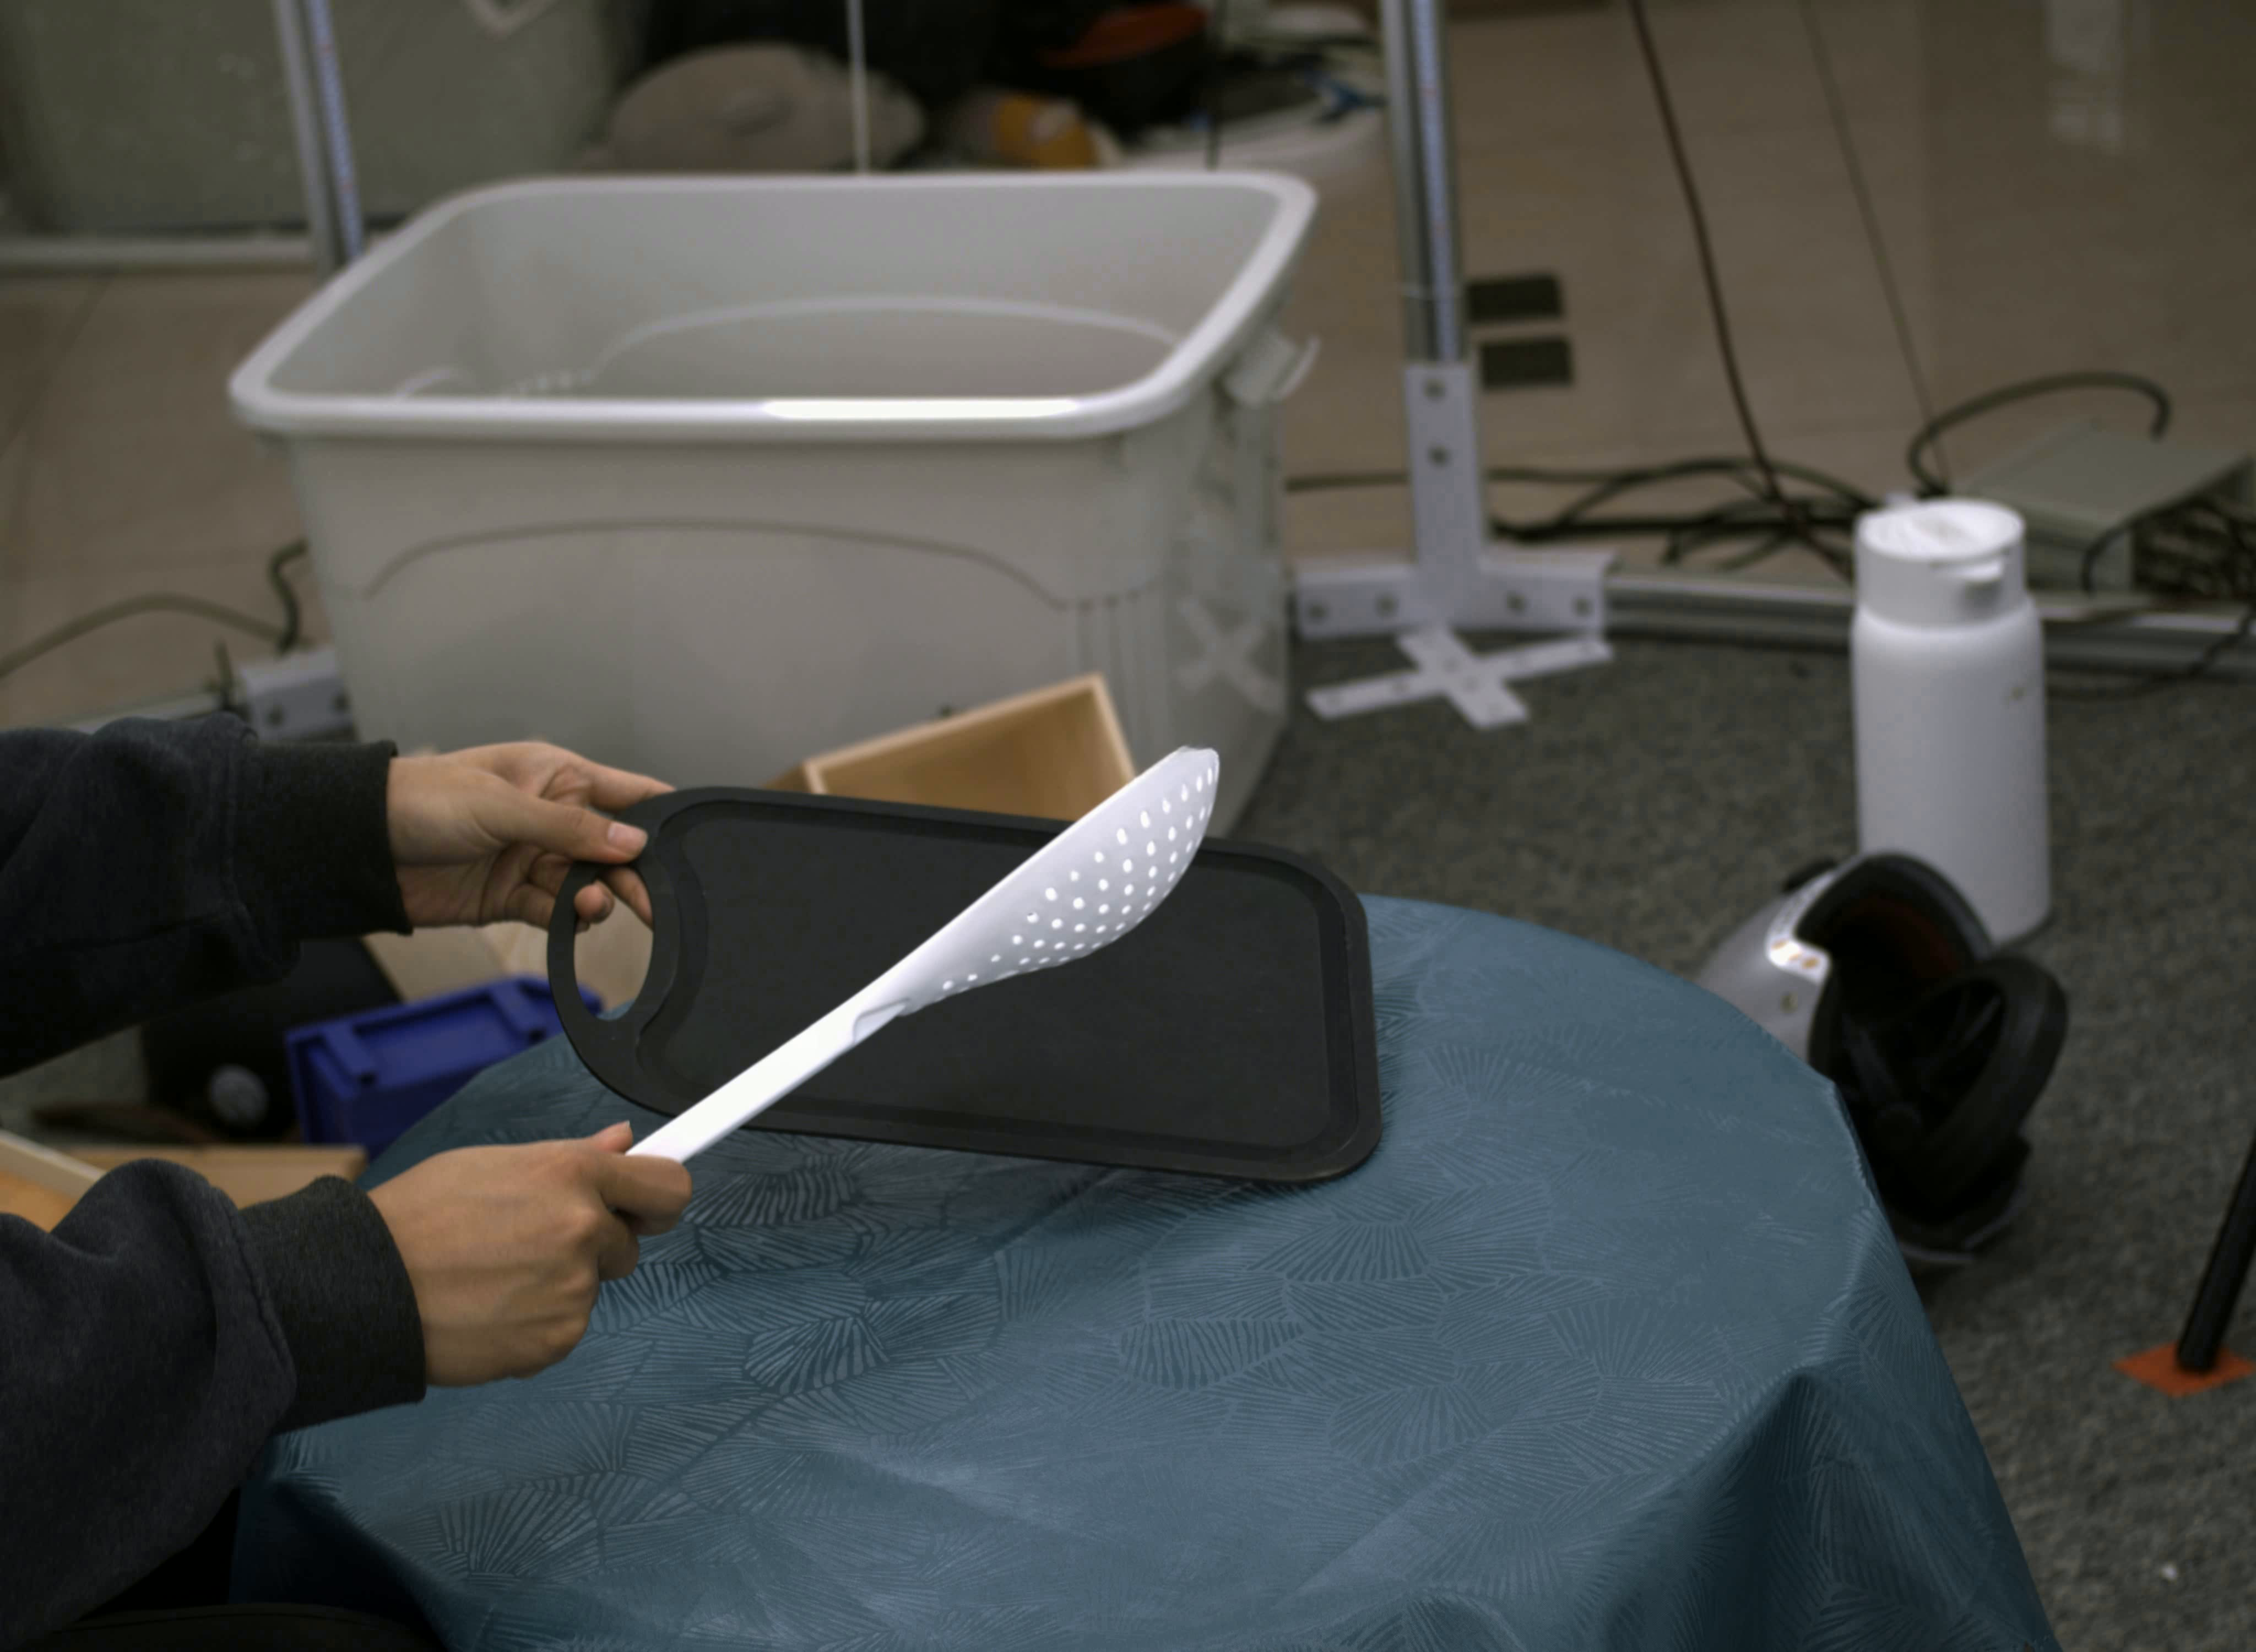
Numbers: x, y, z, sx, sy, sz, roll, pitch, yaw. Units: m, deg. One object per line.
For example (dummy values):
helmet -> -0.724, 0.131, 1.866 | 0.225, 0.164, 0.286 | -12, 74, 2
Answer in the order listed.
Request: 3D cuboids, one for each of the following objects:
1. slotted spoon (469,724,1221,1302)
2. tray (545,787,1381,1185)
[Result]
slotted spoon -> -0.095, 0.066, 2.016 | 0.347, 0.045, 0.137 | -30, -6, -26
tray -> -0.064, 0.058, 2.196 | 0.325, 0.010, 0.207 | 6, 38, -6
